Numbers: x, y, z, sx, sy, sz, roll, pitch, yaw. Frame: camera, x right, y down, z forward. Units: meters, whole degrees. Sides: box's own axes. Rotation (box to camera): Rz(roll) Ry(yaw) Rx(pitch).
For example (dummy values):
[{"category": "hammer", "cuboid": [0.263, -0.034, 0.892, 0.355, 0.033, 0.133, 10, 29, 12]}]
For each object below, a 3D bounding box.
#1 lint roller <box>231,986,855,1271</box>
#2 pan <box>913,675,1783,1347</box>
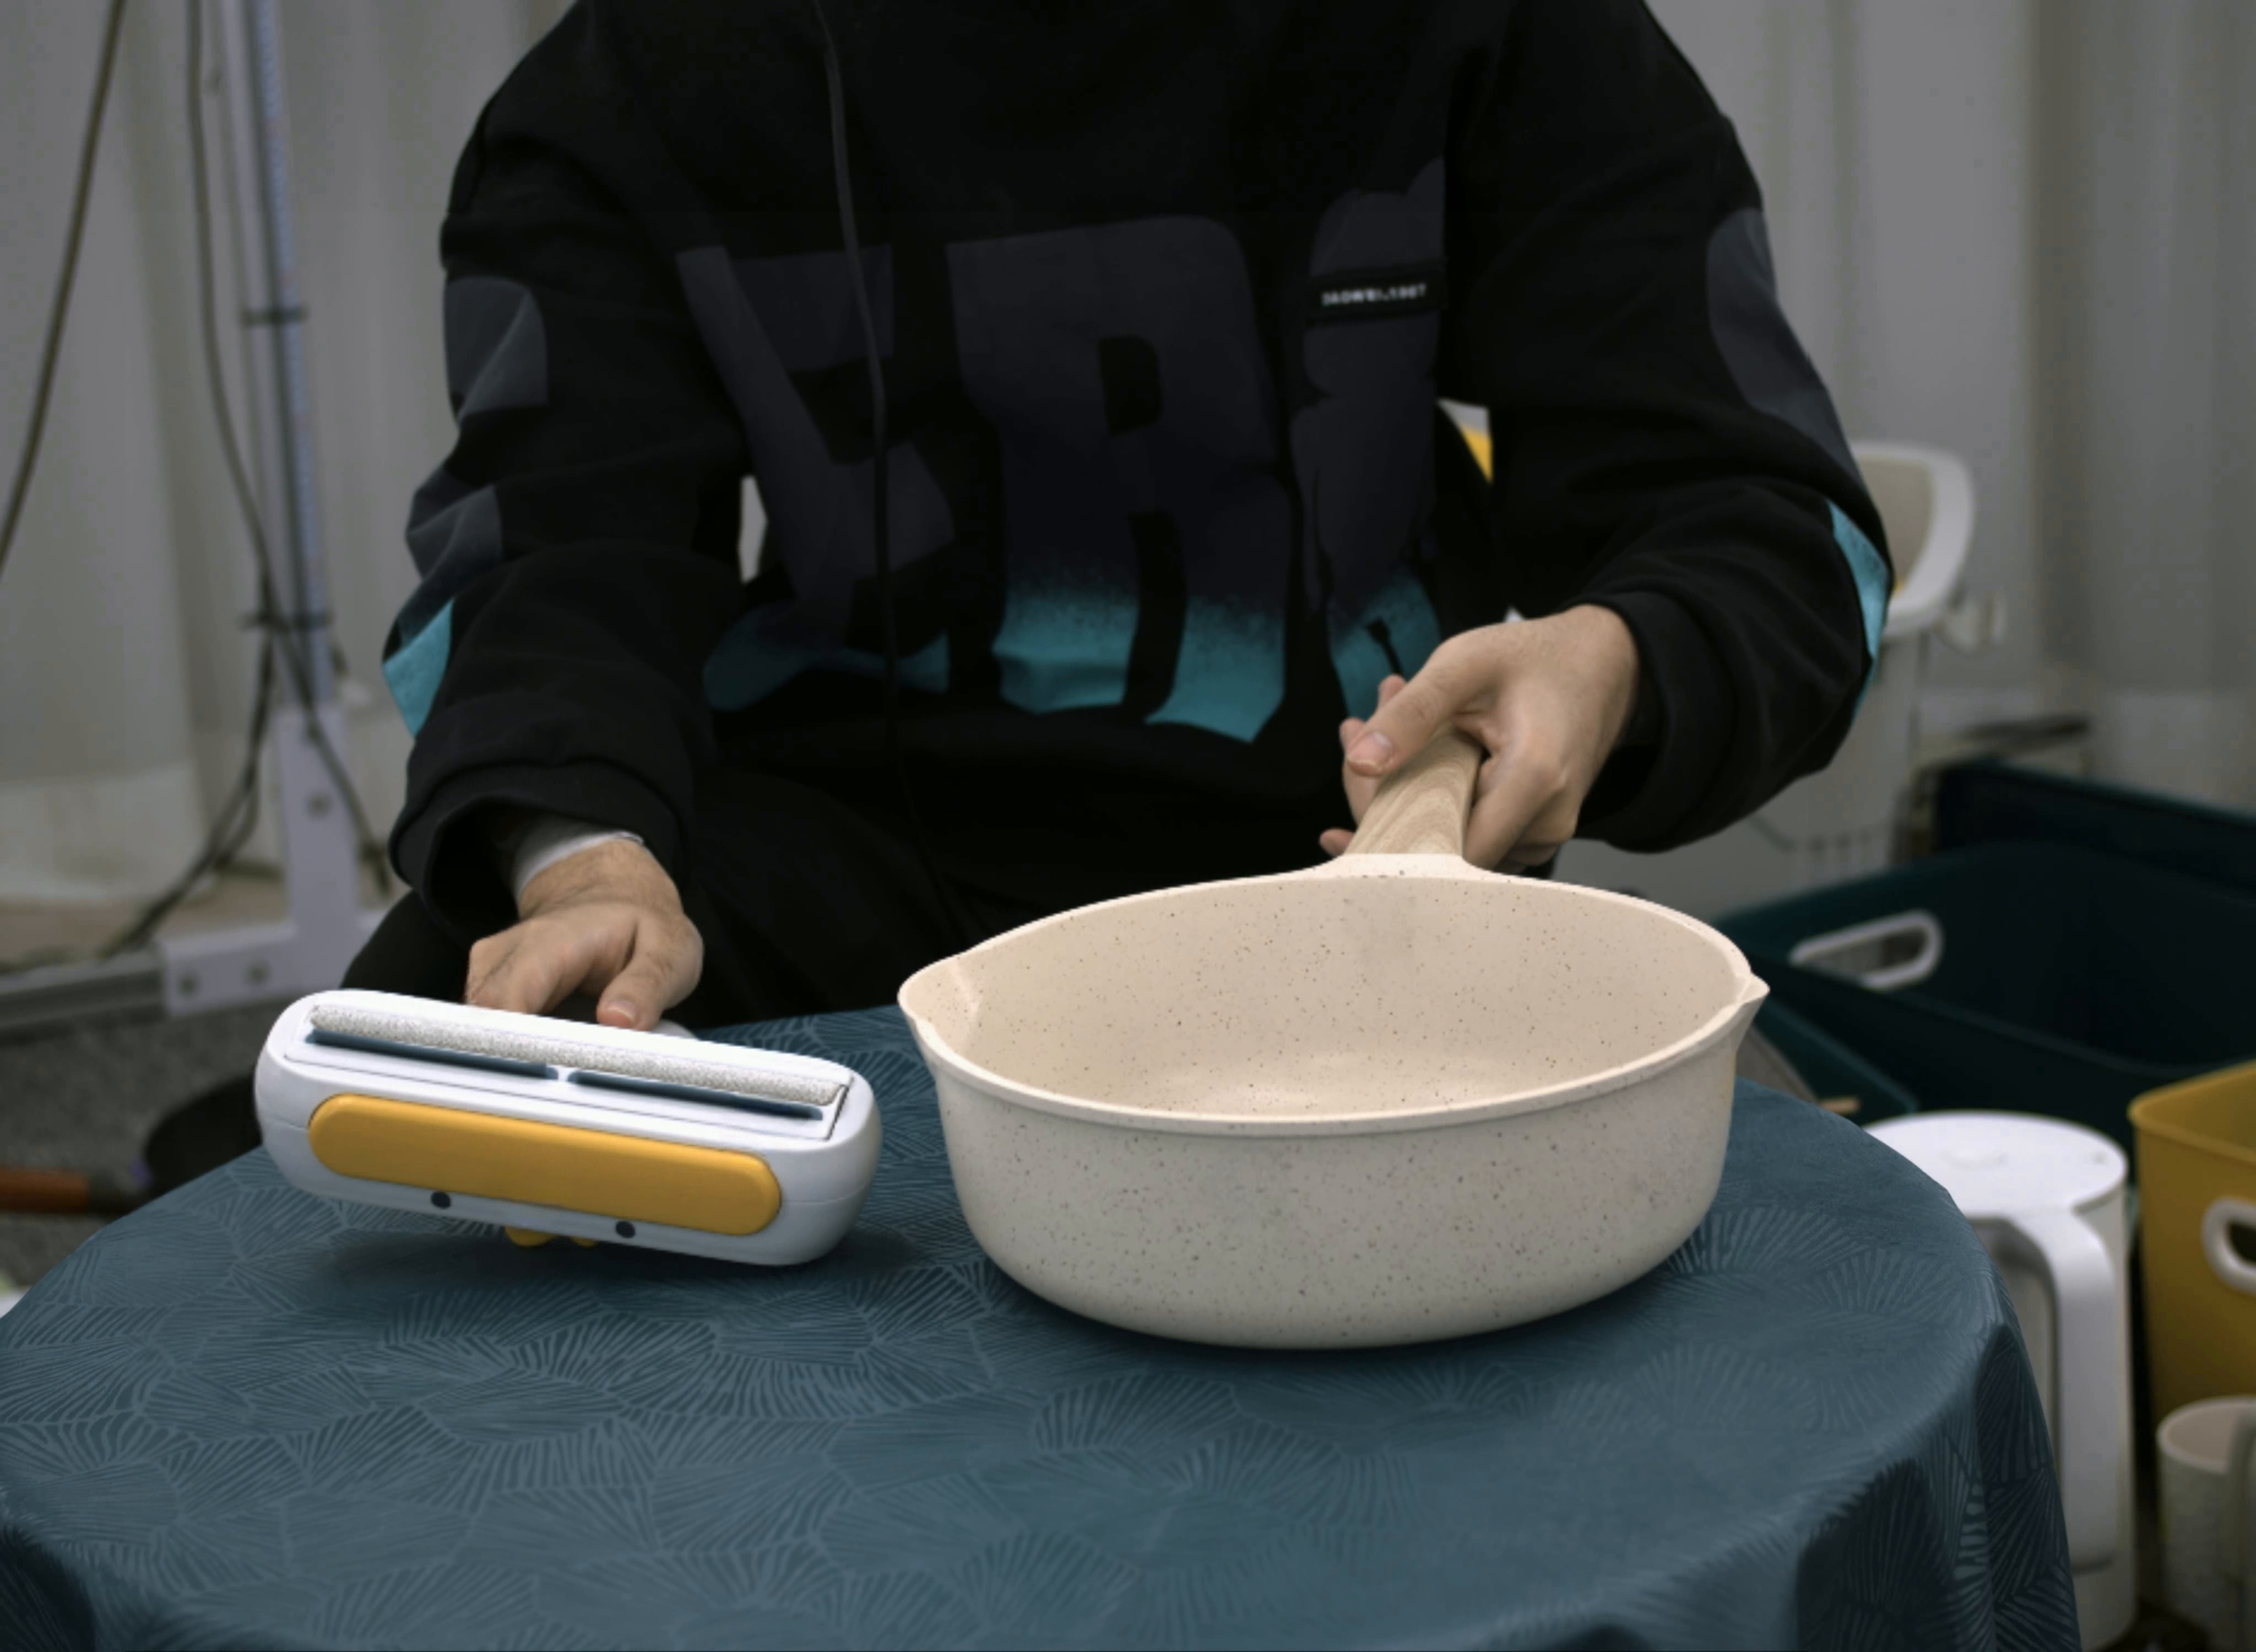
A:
[{"category": "lint roller", "cuboid": [-0.168, 0.082, 1.731, 0.192, 0.074, 0.193, 5, 17, 10]}, {"category": "pan", "cuboid": [0.084, 0.054, 1.731, 0.263, 0.101, 0.437, -3, 15, 12]}]
